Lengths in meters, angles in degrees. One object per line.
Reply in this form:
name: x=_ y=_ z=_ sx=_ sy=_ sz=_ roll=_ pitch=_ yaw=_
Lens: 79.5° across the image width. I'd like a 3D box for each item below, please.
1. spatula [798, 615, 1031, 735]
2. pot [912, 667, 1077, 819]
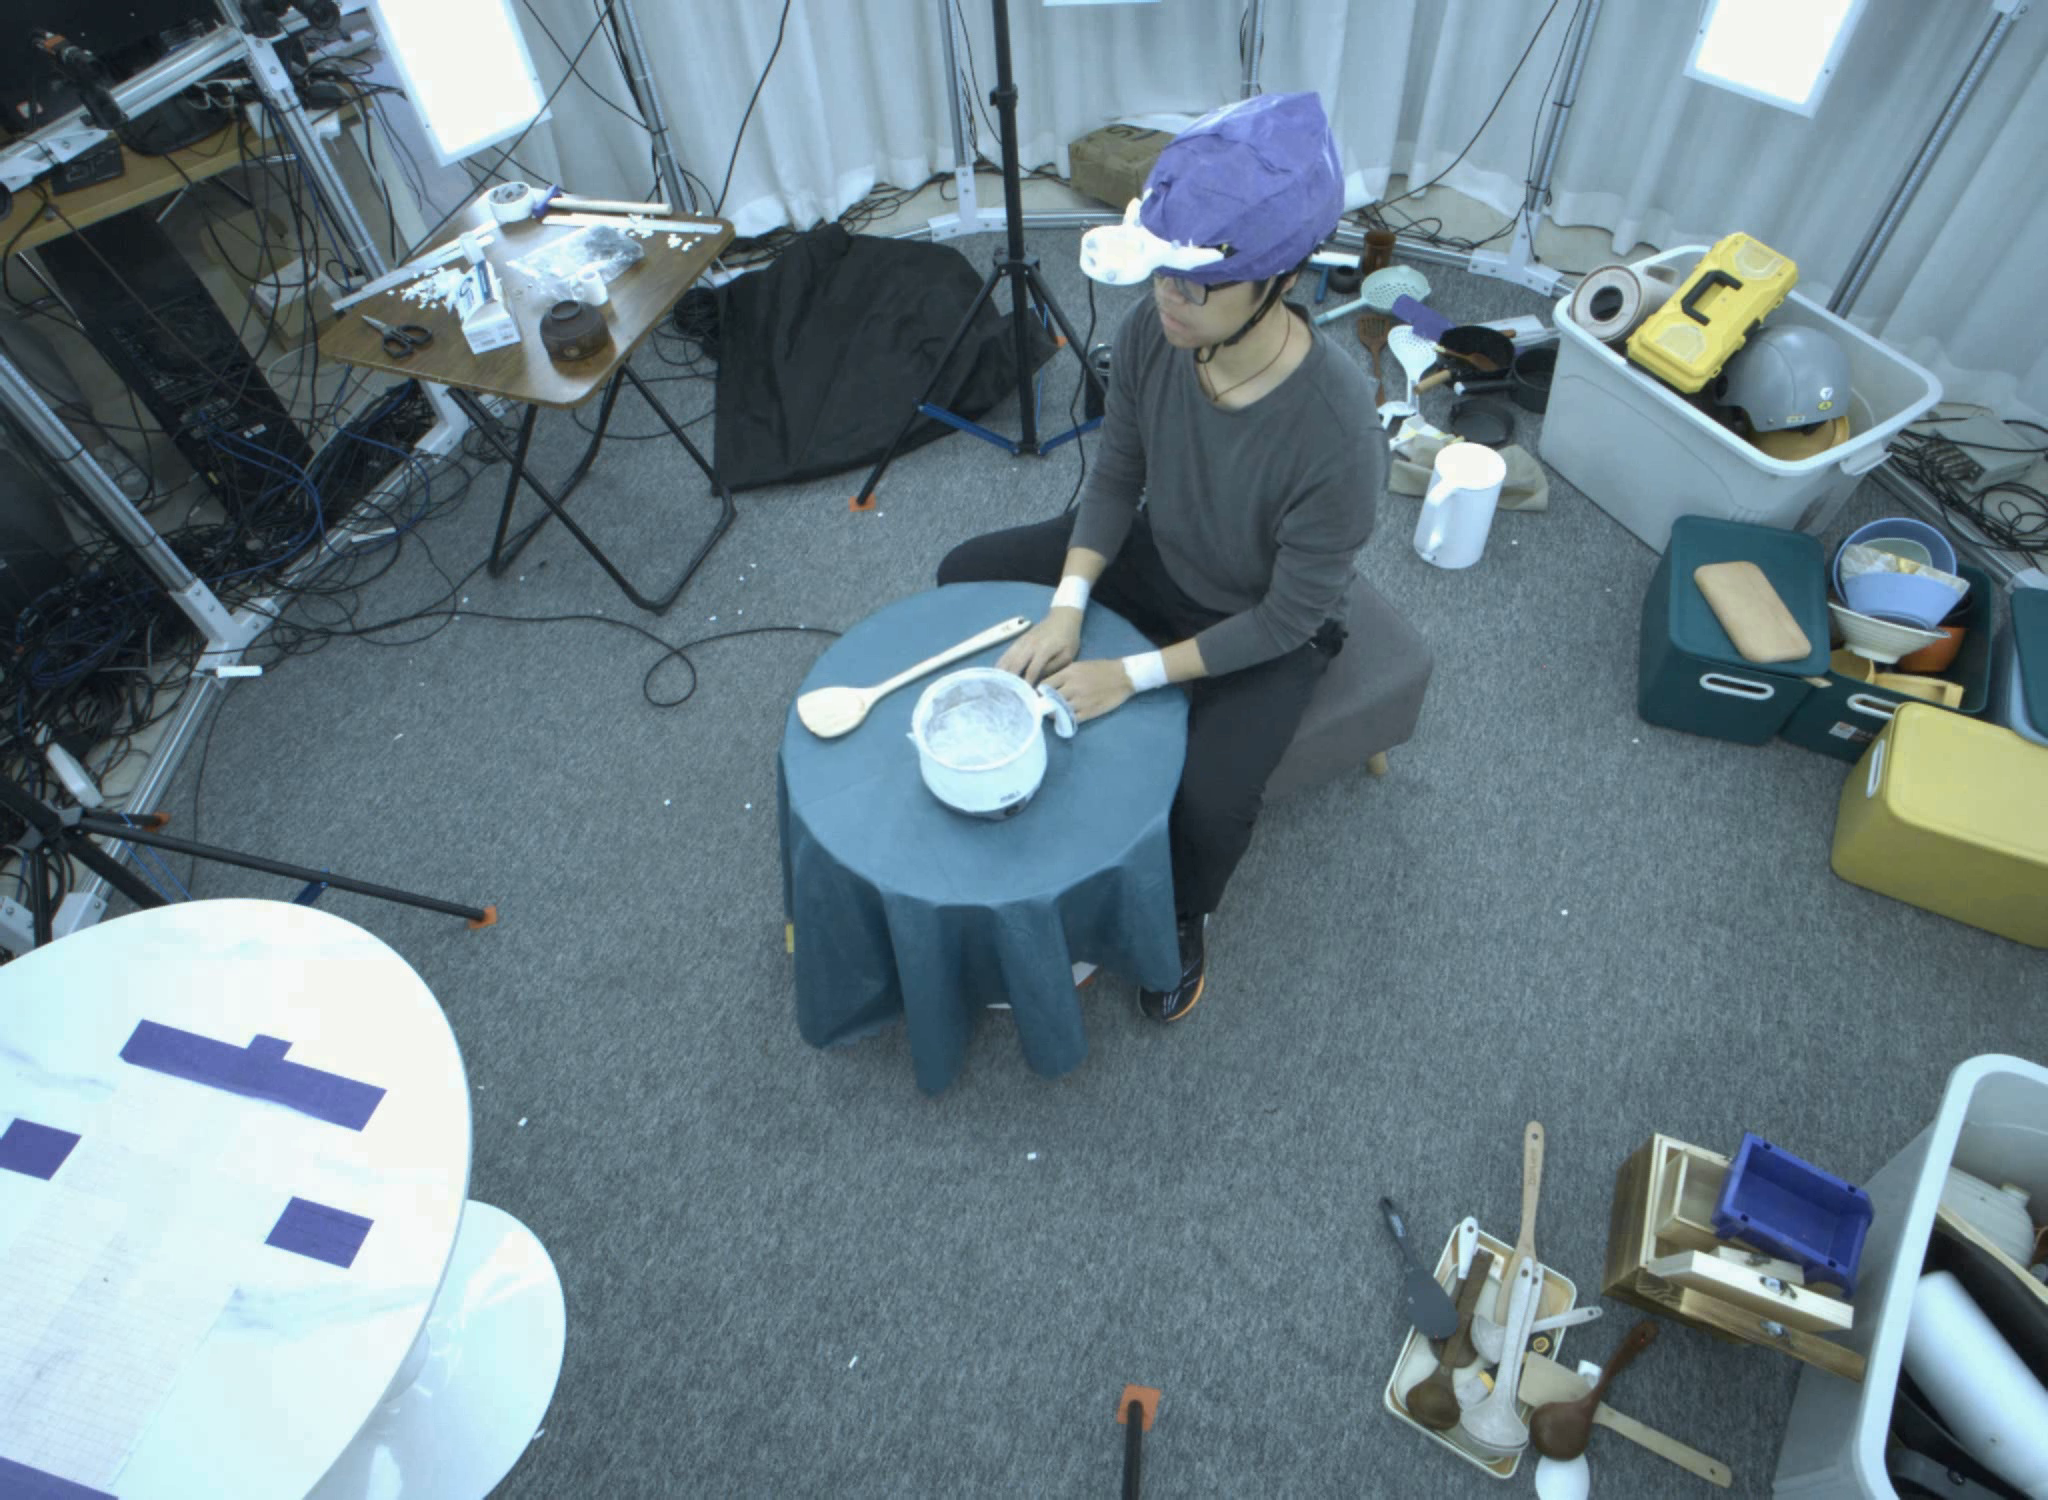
spatula: x=-0.161 y=-0.128 z=1.880 sx=0.394 sy=0.018 sz=0.094 roll=-27 pitch=60 yaw=-17
pot: x=-0.035 y=-0.019 z=1.725 sx=0.235 sy=0.138 sz=0.175 roll=-25 pitch=57 yaw=-15
